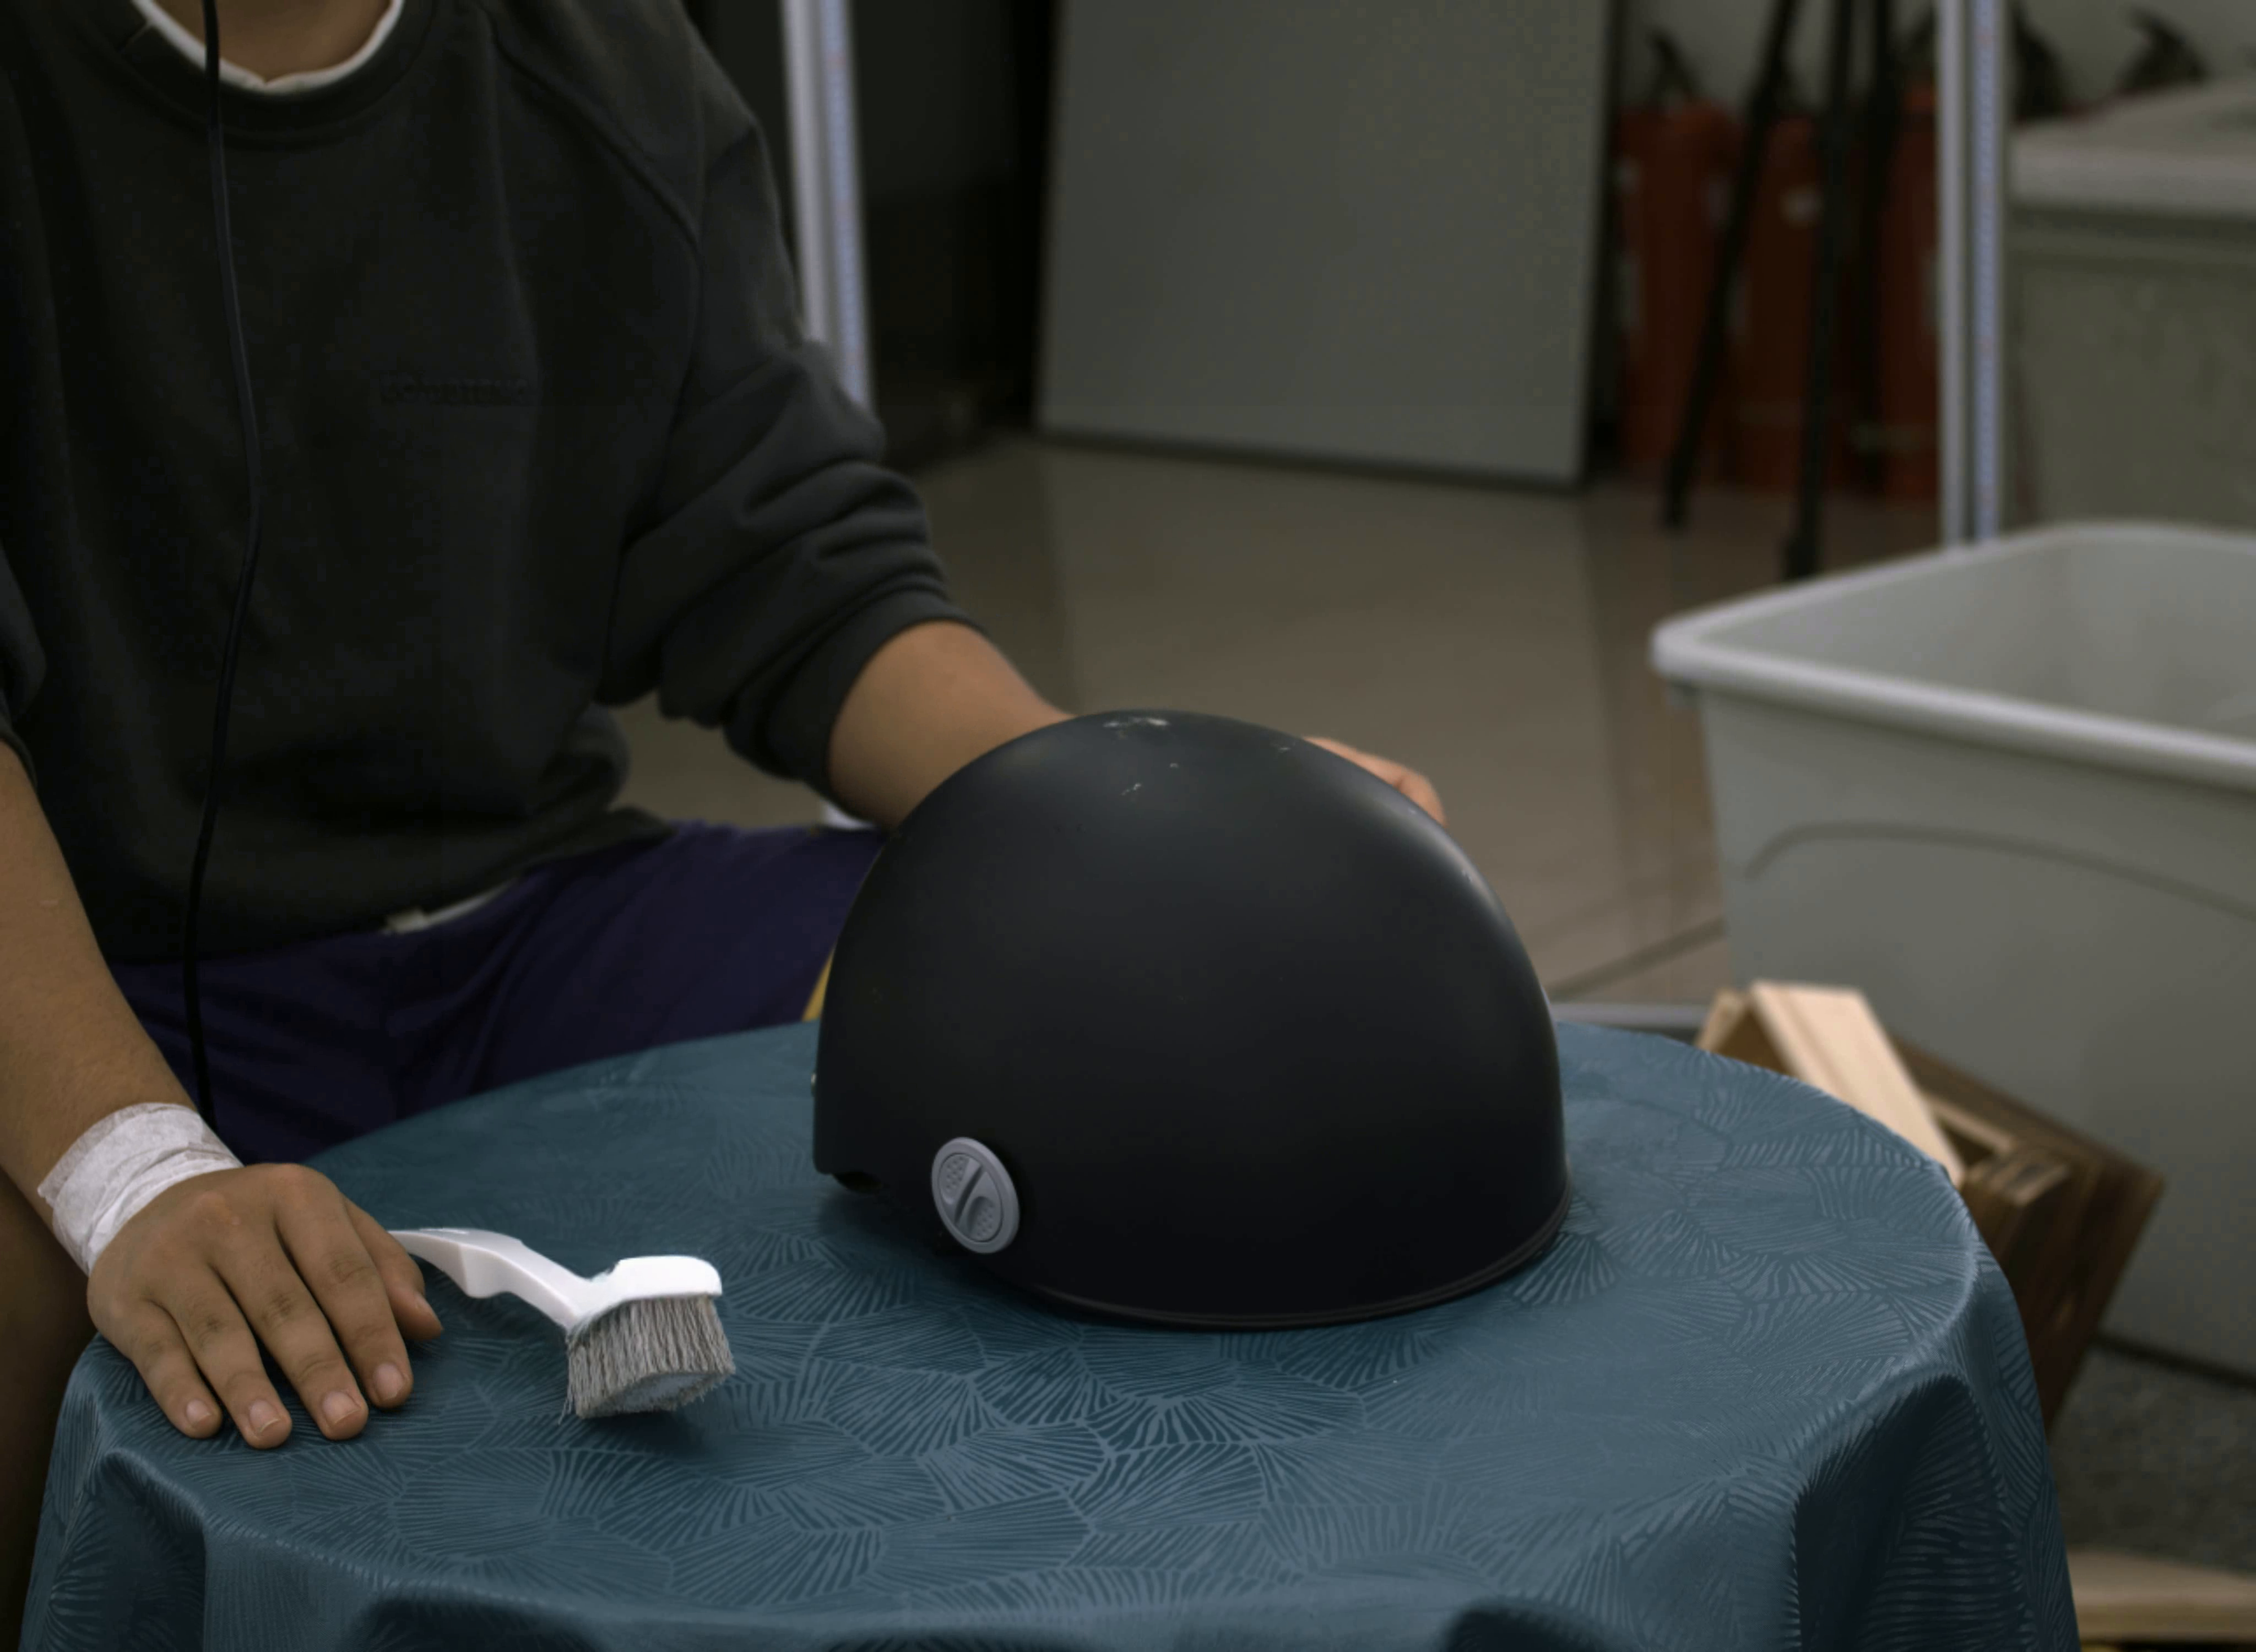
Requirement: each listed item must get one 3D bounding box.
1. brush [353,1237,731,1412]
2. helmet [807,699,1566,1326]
[{"bbox_3d":[-0.183,0.151,1.649,0.033,0.051,0.246,-1,-2,-29],"label":"brush"},{"bbox_3d":[0.016,0.048,1.728,0.225,0.168,0.276,-15,19,-28],"label":"helmet"}]
